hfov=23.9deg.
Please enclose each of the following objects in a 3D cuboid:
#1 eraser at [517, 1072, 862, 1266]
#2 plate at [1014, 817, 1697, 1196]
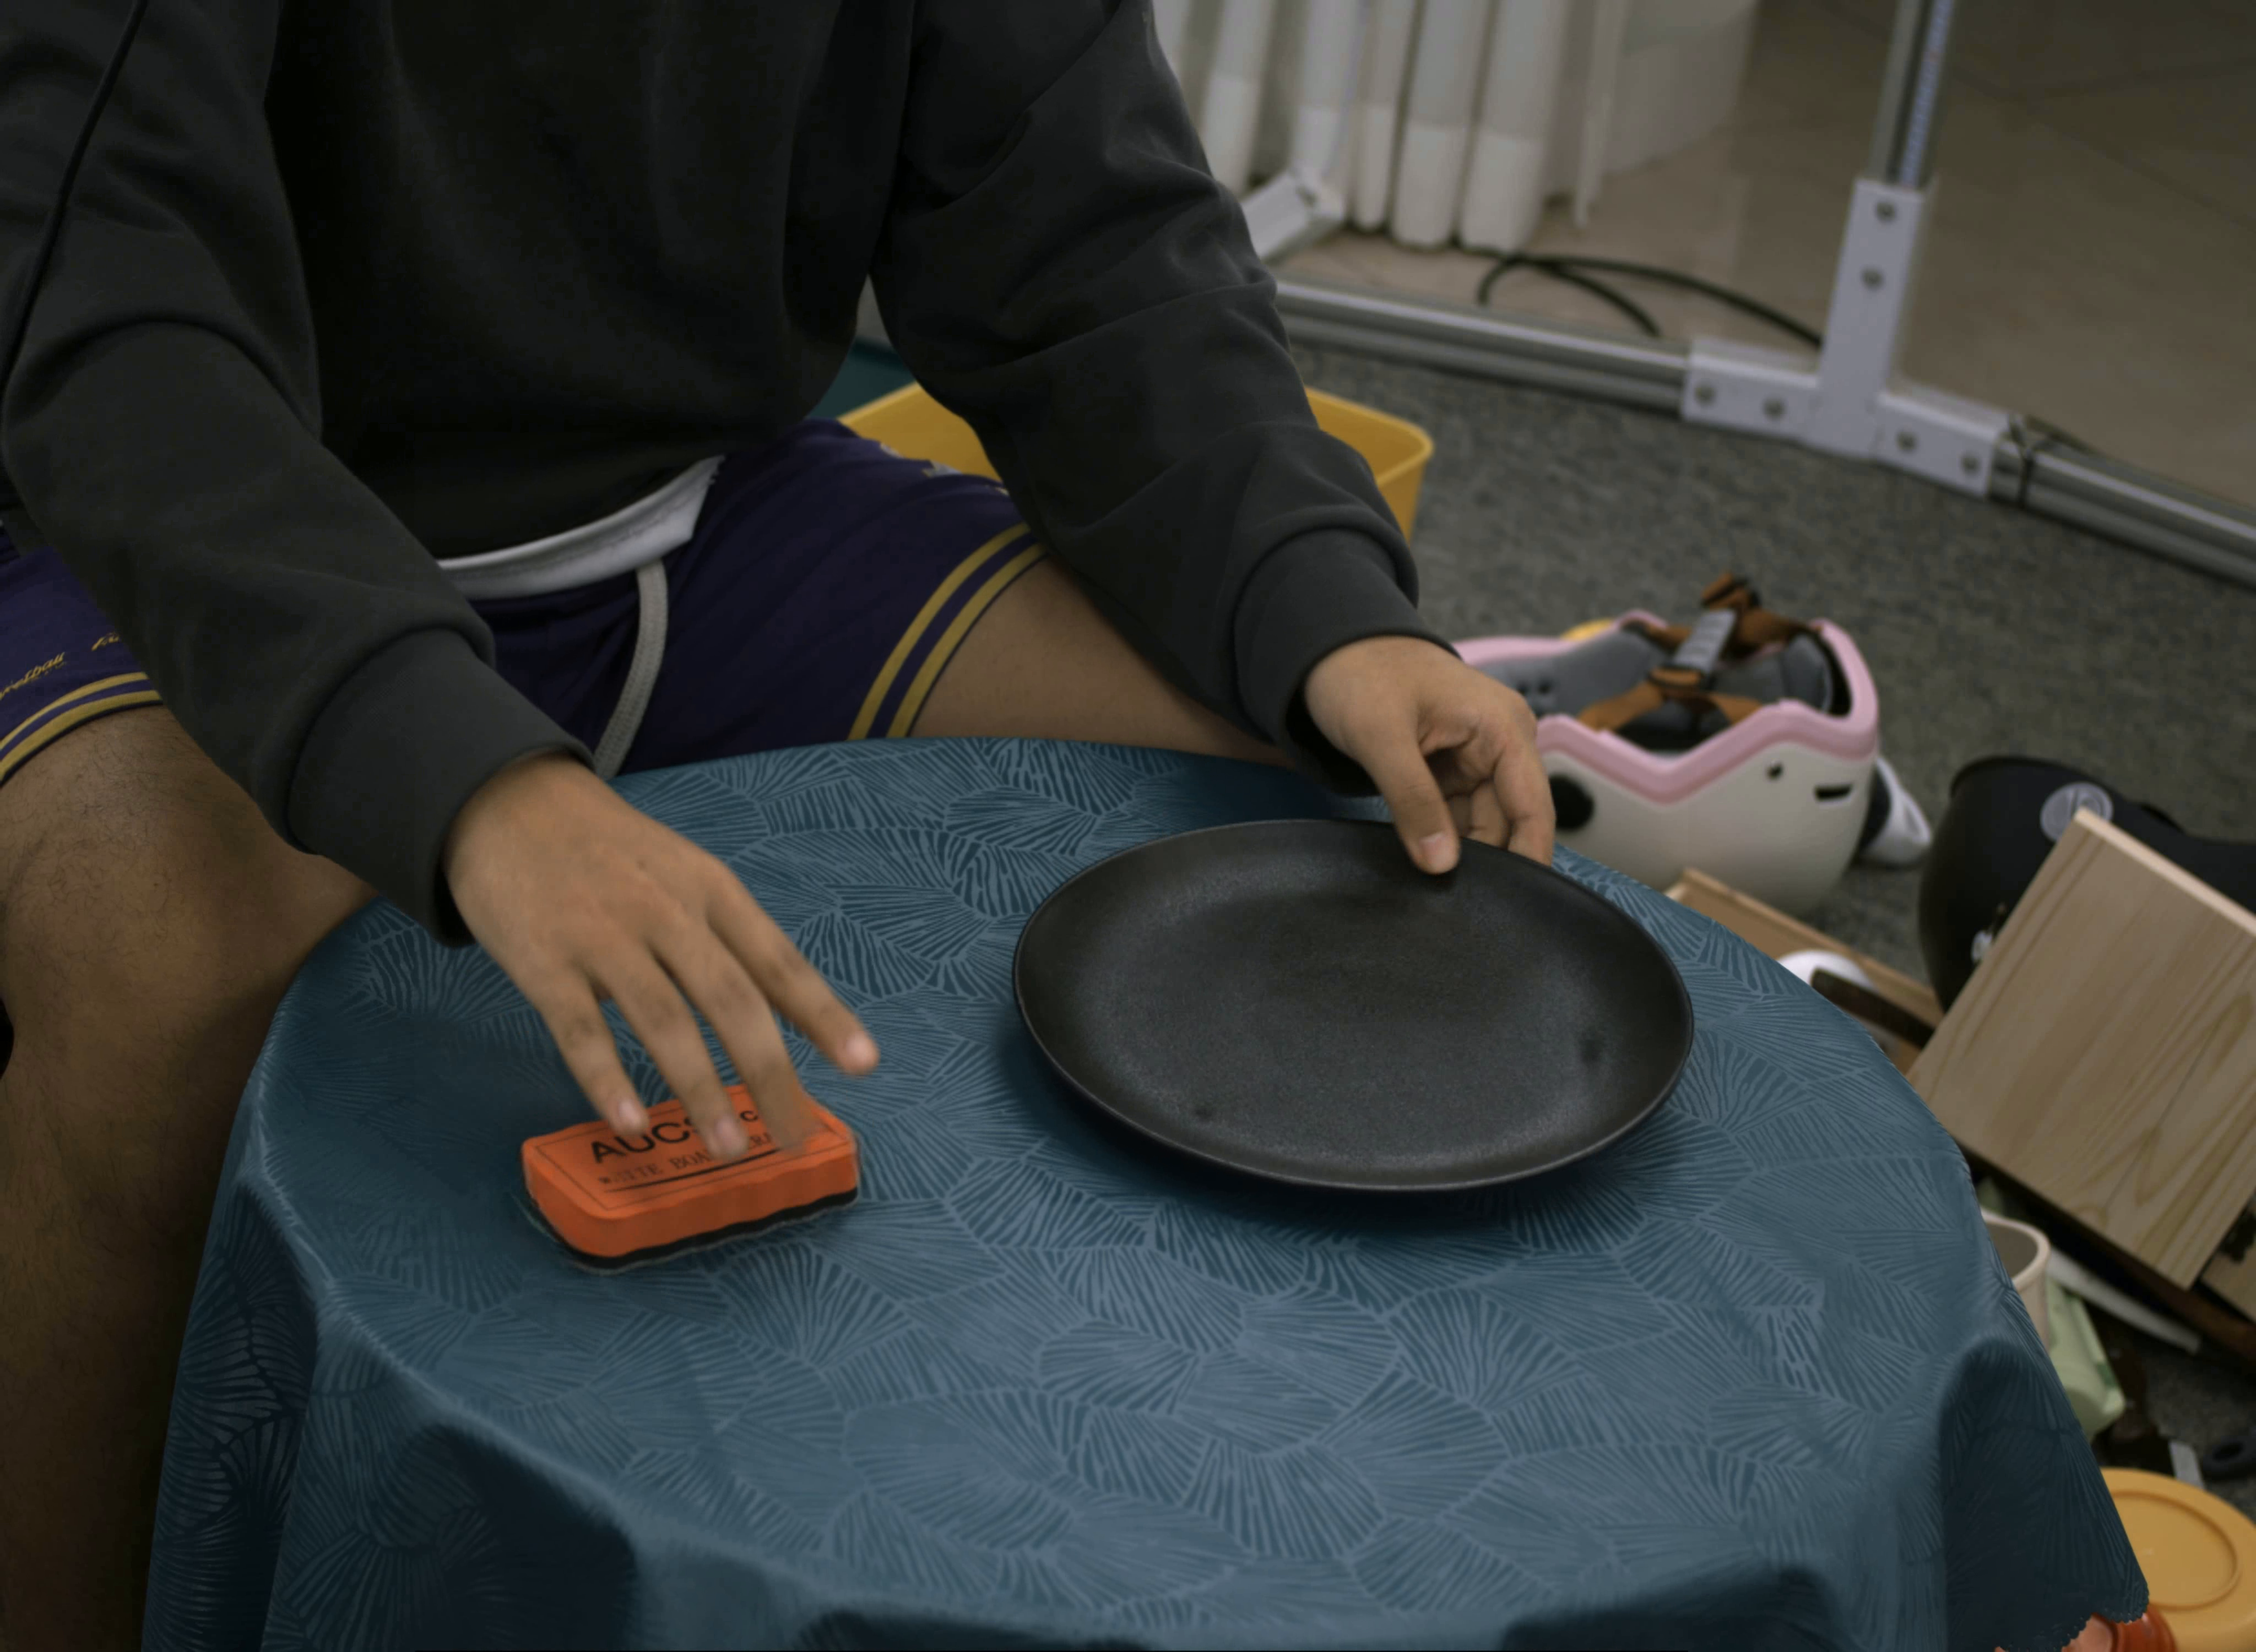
[{"bbox_3d":[-0.144,0.113,1.758,0.107,0.023,0.059,-12,33,-35],"label":"eraser"},{"bbox_3d":[0.080,0.068,1.890,0.243,0.023,0.246,3,31,-2],"label":"plate"}]
